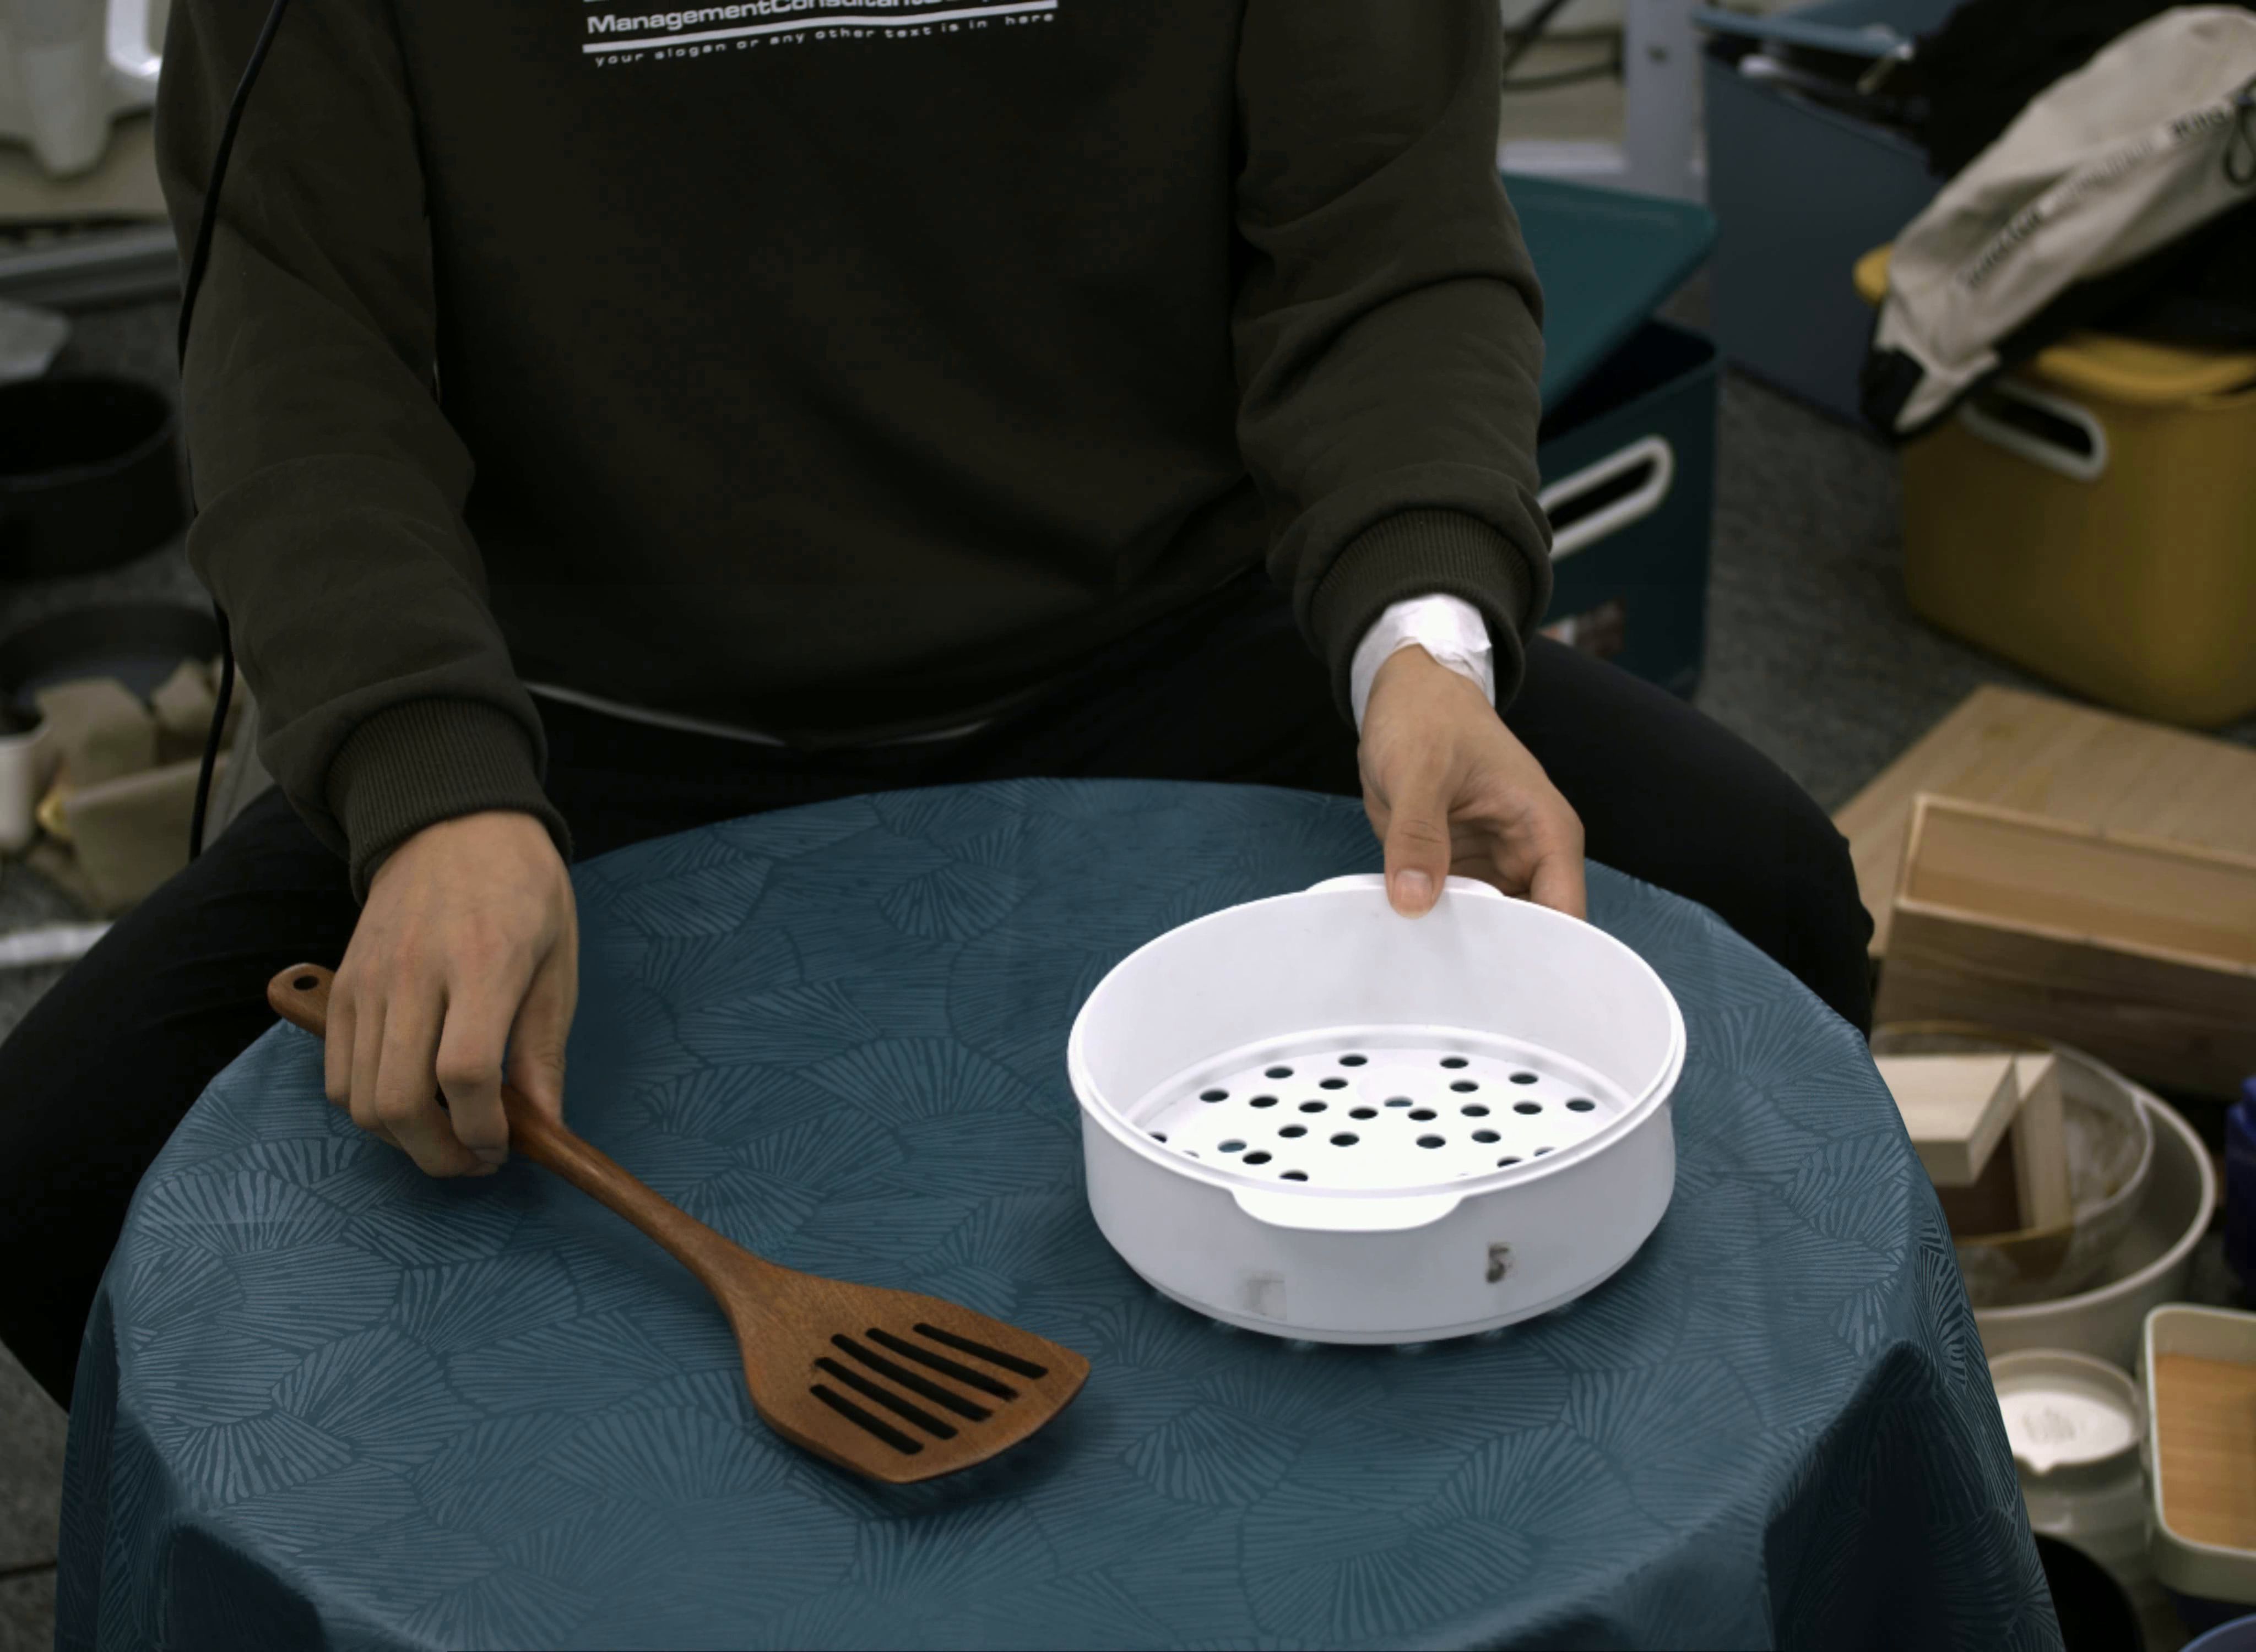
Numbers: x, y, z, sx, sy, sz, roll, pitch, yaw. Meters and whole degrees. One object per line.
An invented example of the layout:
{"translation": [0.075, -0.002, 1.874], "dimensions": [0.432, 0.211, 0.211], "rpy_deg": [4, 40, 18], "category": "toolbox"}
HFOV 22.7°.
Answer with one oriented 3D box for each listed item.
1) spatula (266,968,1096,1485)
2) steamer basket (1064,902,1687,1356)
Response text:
{"translation": [-0.164, 0.125, 1.831], "dimensions": [0.087, 0.023, 0.385], "rpy_deg": [-26, 39, -36], "category": "spatula"}
{"translation": [0.080, 0.100, 1.829], "dimensions": [0.201, 0.068, 0.234], "rpy_deg": [3, 25, 7], "category": "steamer basket"}
